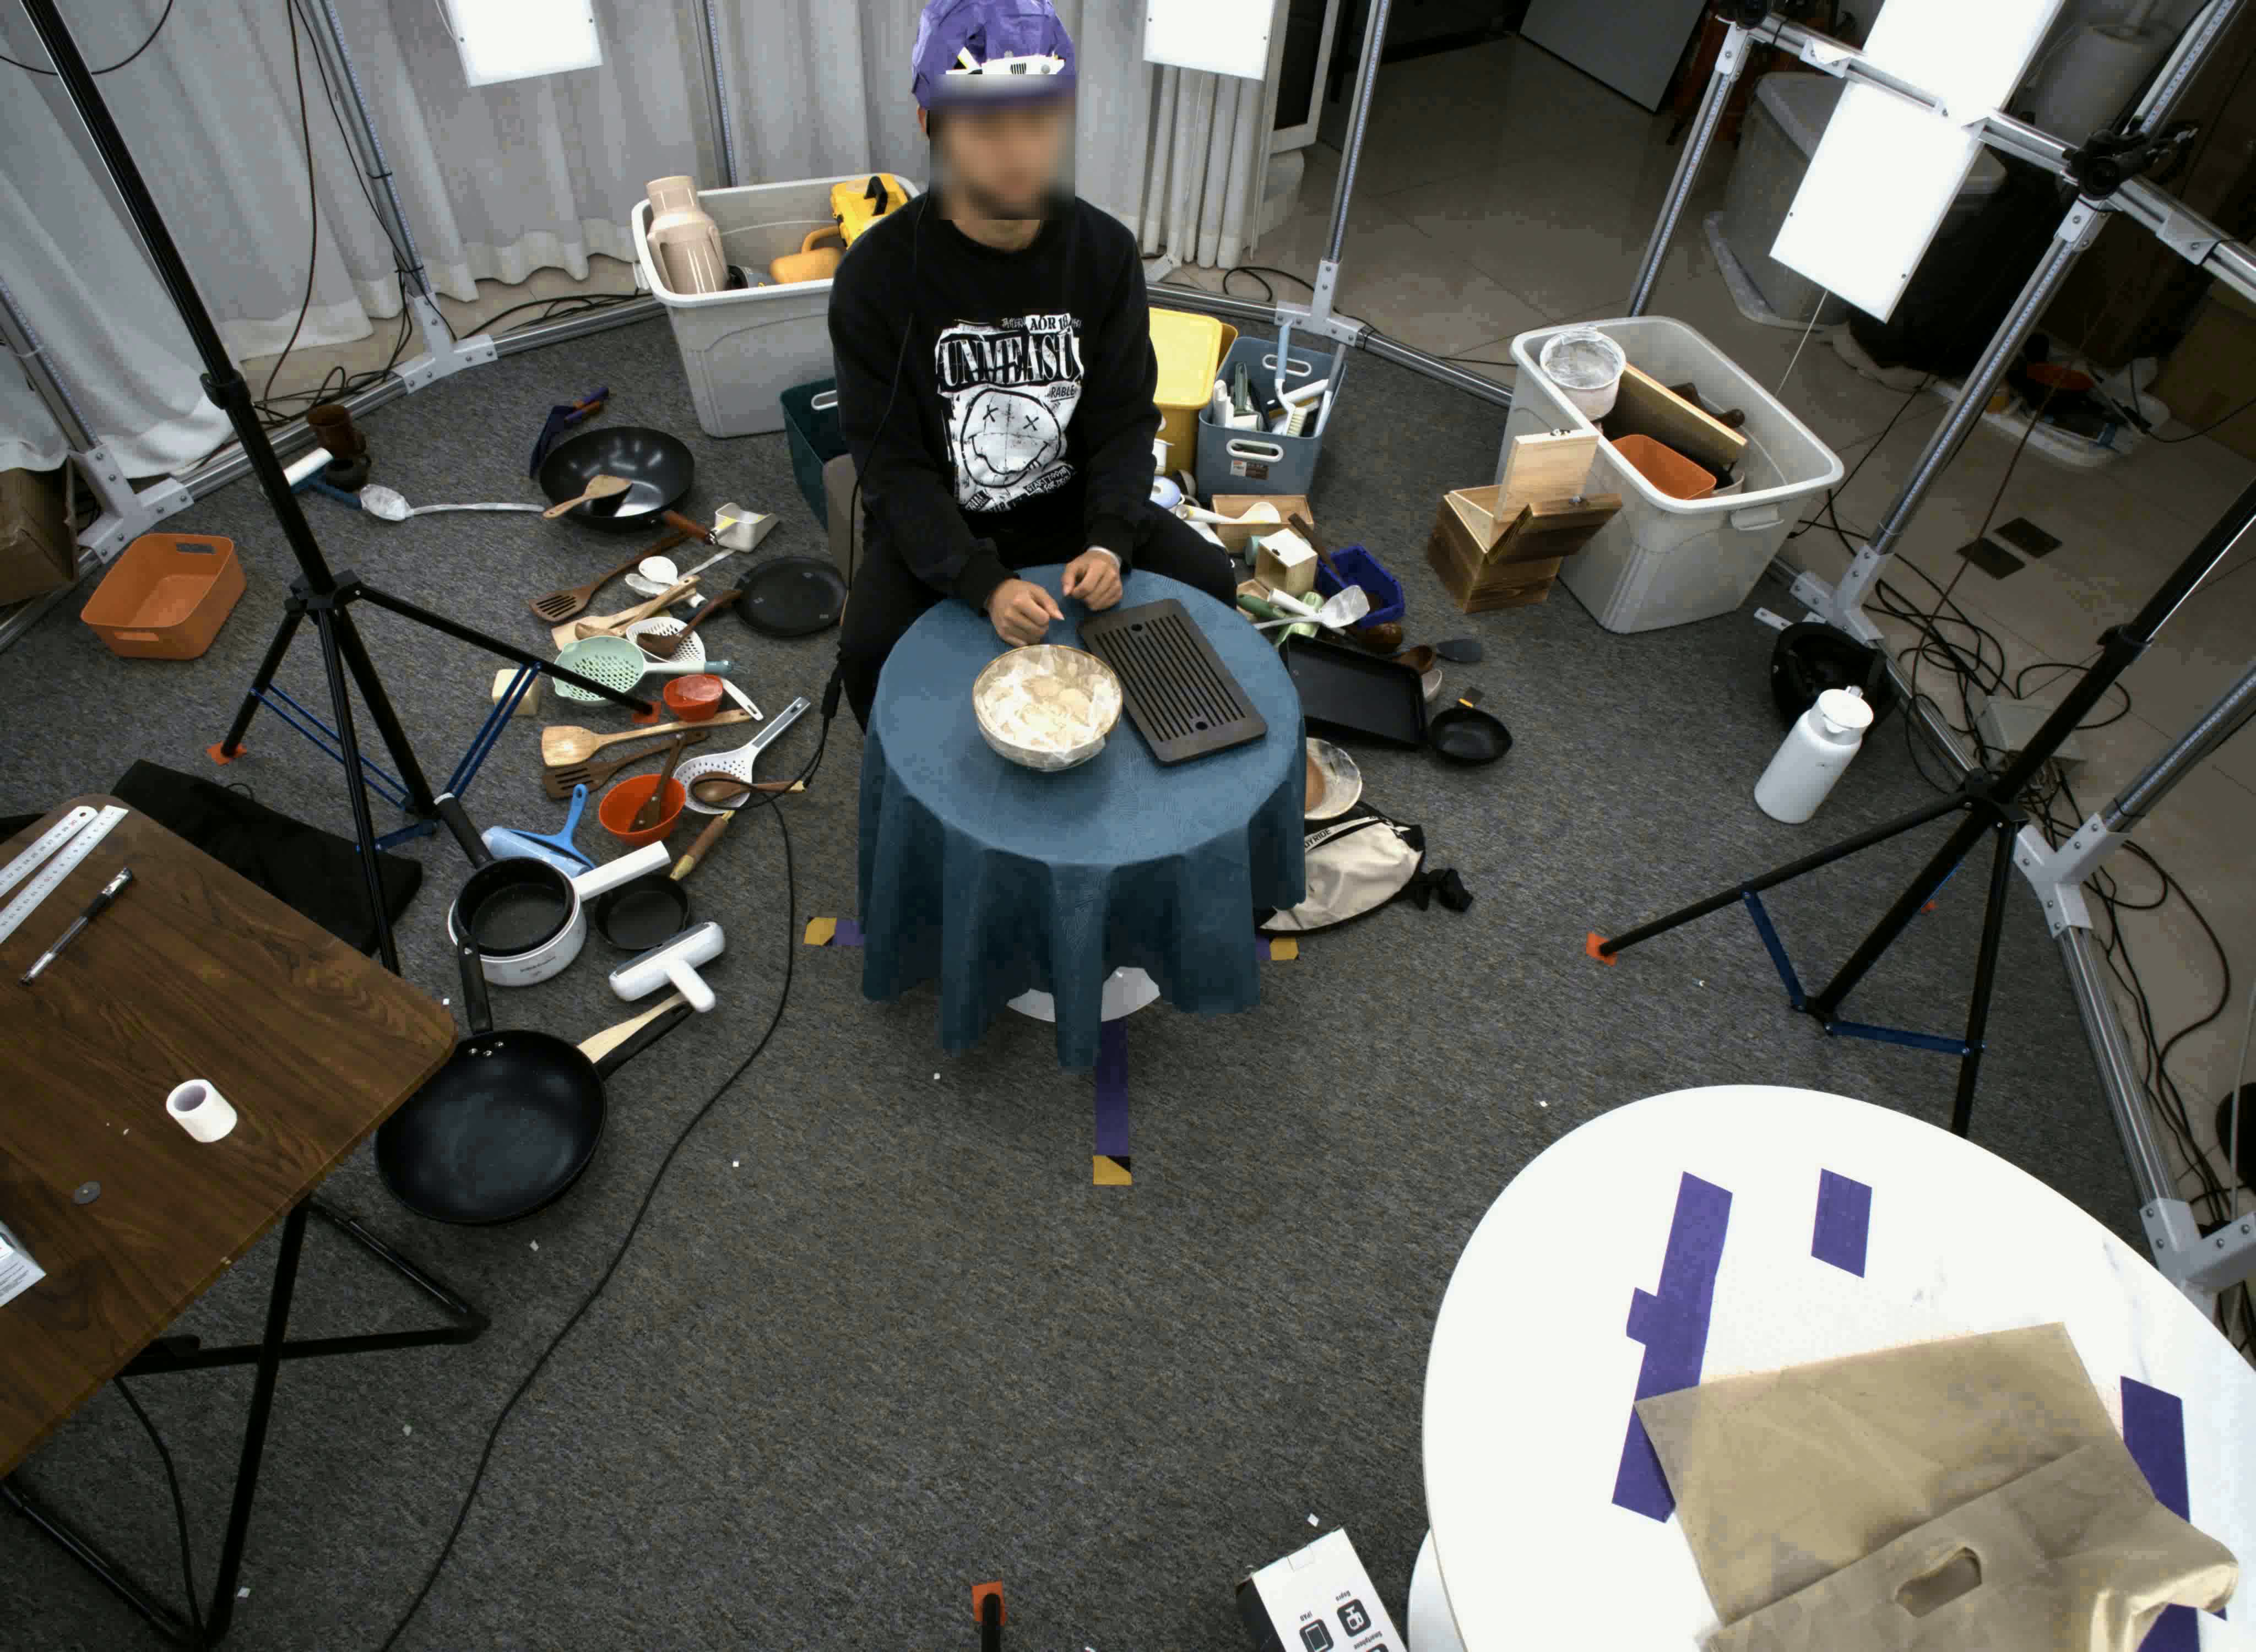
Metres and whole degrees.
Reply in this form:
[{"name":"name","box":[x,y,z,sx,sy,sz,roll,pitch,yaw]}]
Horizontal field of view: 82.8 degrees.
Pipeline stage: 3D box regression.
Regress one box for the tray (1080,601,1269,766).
[{"name":"tray","box":[0.063,-0.211,1.861,0.170,0.018,0.313,-17,52,-18]}]

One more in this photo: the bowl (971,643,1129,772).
[{"name":"bowl","box":[-0.105,-0.147,1.745,0.214,0.092,0.220,1,49,-1]}]
